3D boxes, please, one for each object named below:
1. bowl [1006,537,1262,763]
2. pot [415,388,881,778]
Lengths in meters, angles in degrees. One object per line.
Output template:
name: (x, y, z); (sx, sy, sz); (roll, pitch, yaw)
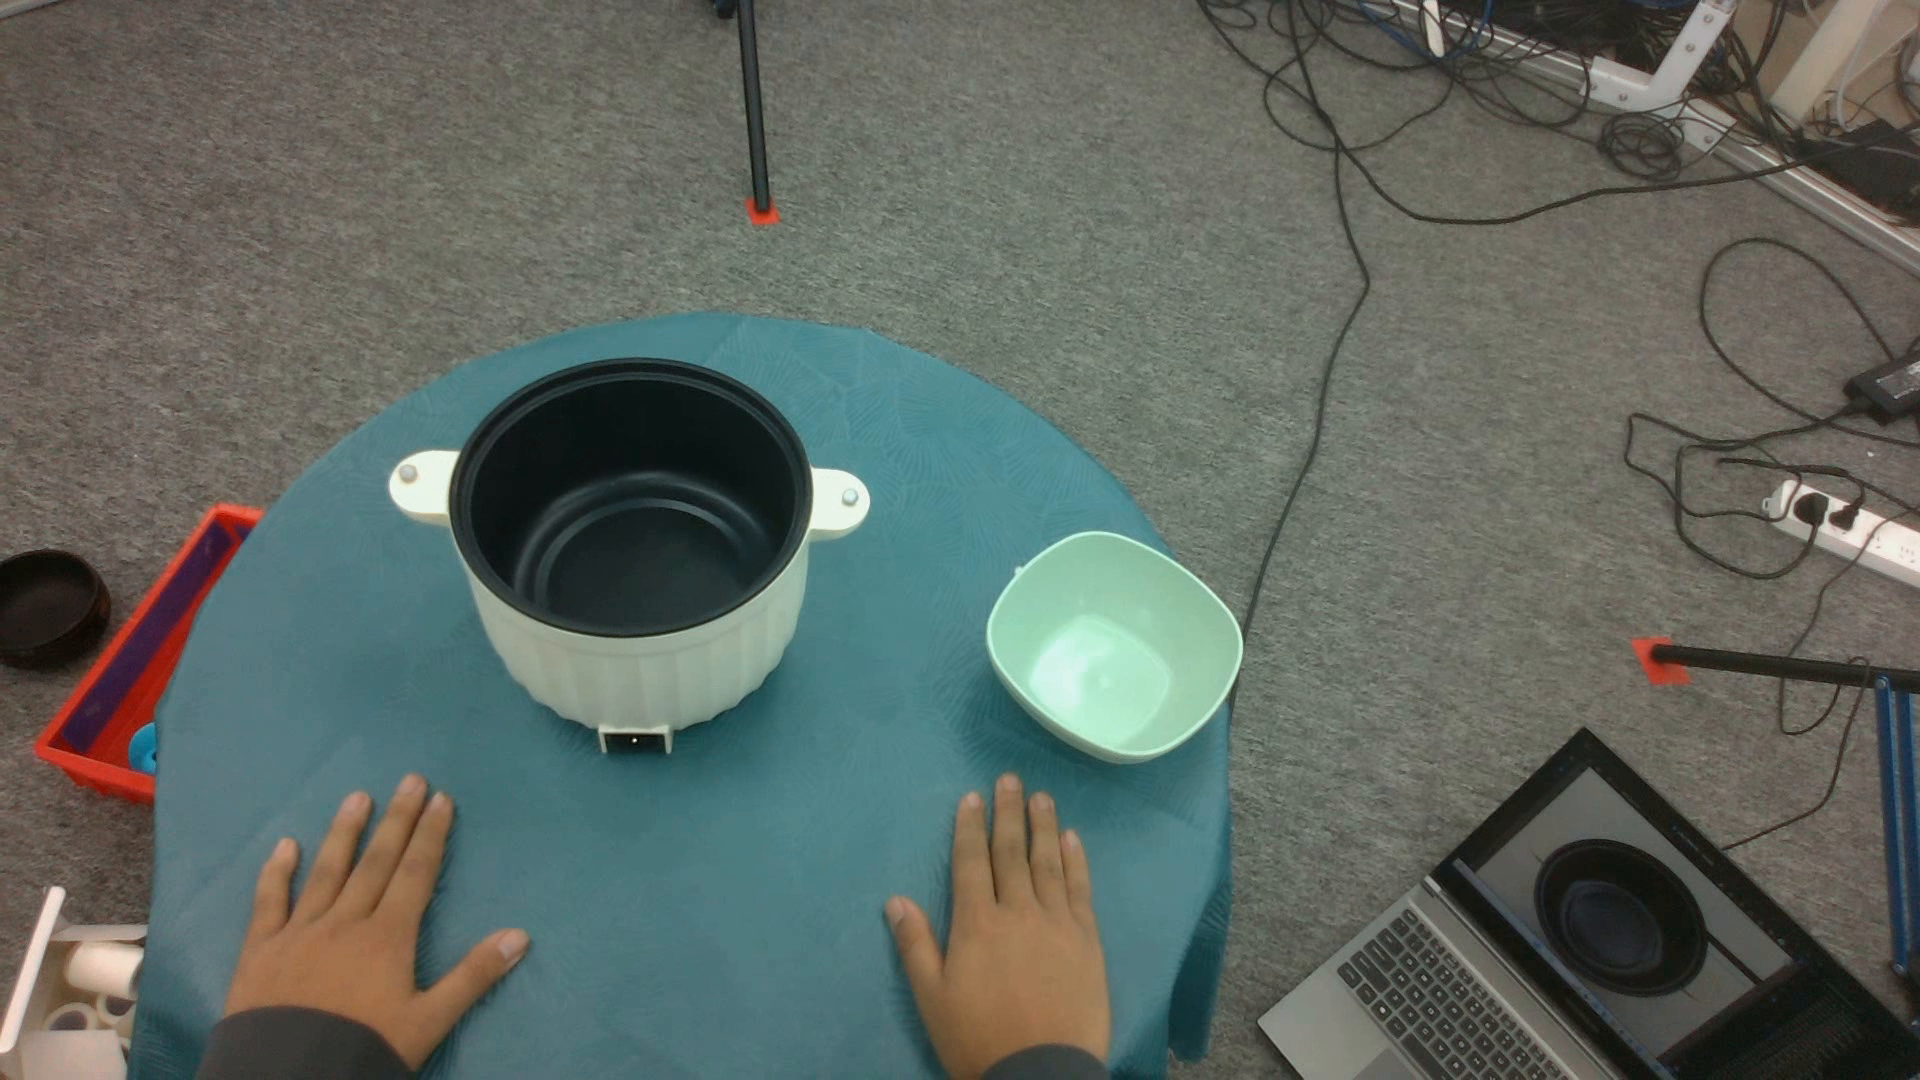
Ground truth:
bowl: (0.100, 0.074, 0.820); (0.151, 0.058, 0.152); (2, 52, -2)
pot: (-0.169, 0.022, 0.778); (0.240, 0.142, 0.191); (-1, 56, -9)
